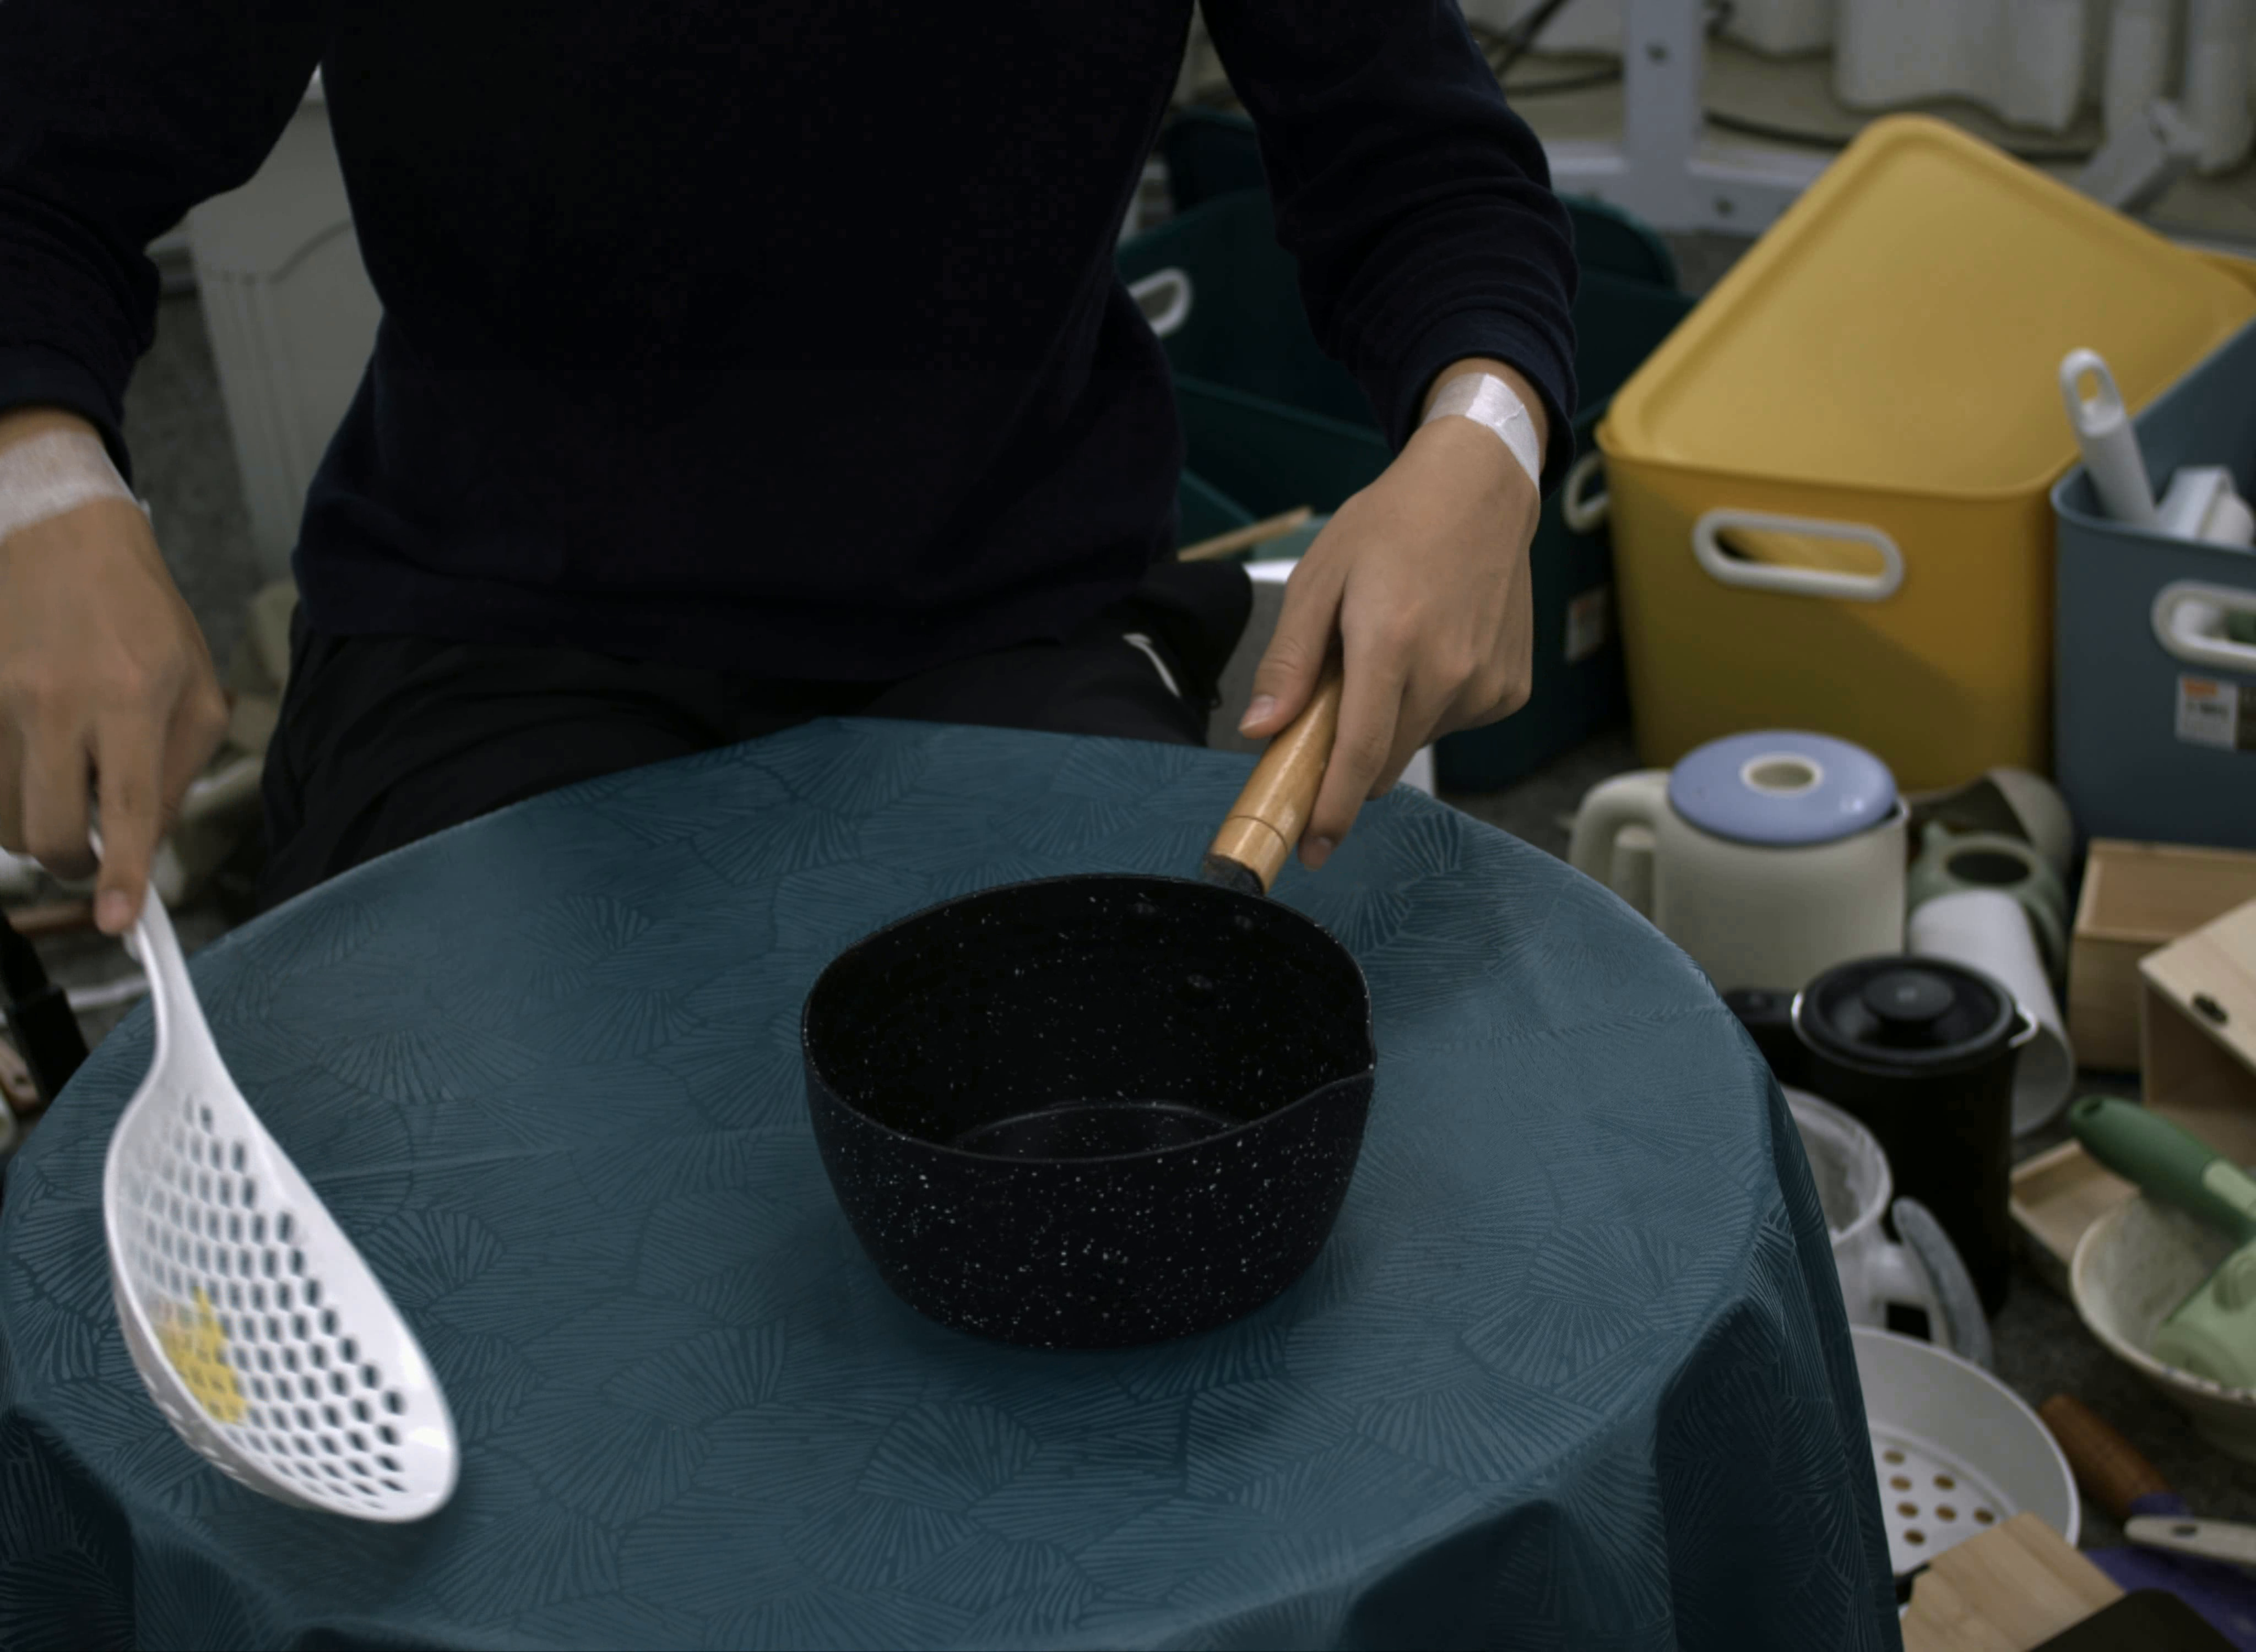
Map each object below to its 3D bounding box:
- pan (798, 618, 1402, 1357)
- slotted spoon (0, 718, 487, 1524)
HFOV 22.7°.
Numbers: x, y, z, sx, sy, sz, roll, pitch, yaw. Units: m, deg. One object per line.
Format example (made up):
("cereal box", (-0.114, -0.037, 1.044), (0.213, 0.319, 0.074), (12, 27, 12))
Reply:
("pan", (0.019, 0.050, 1.882), (0.206, 0.107, 0.349), (7, 30, 22))
("slotted spoon", (-0.296, 0.084, 1.758), (0.136, 0.050, 0.353), (25, 33, -46))
